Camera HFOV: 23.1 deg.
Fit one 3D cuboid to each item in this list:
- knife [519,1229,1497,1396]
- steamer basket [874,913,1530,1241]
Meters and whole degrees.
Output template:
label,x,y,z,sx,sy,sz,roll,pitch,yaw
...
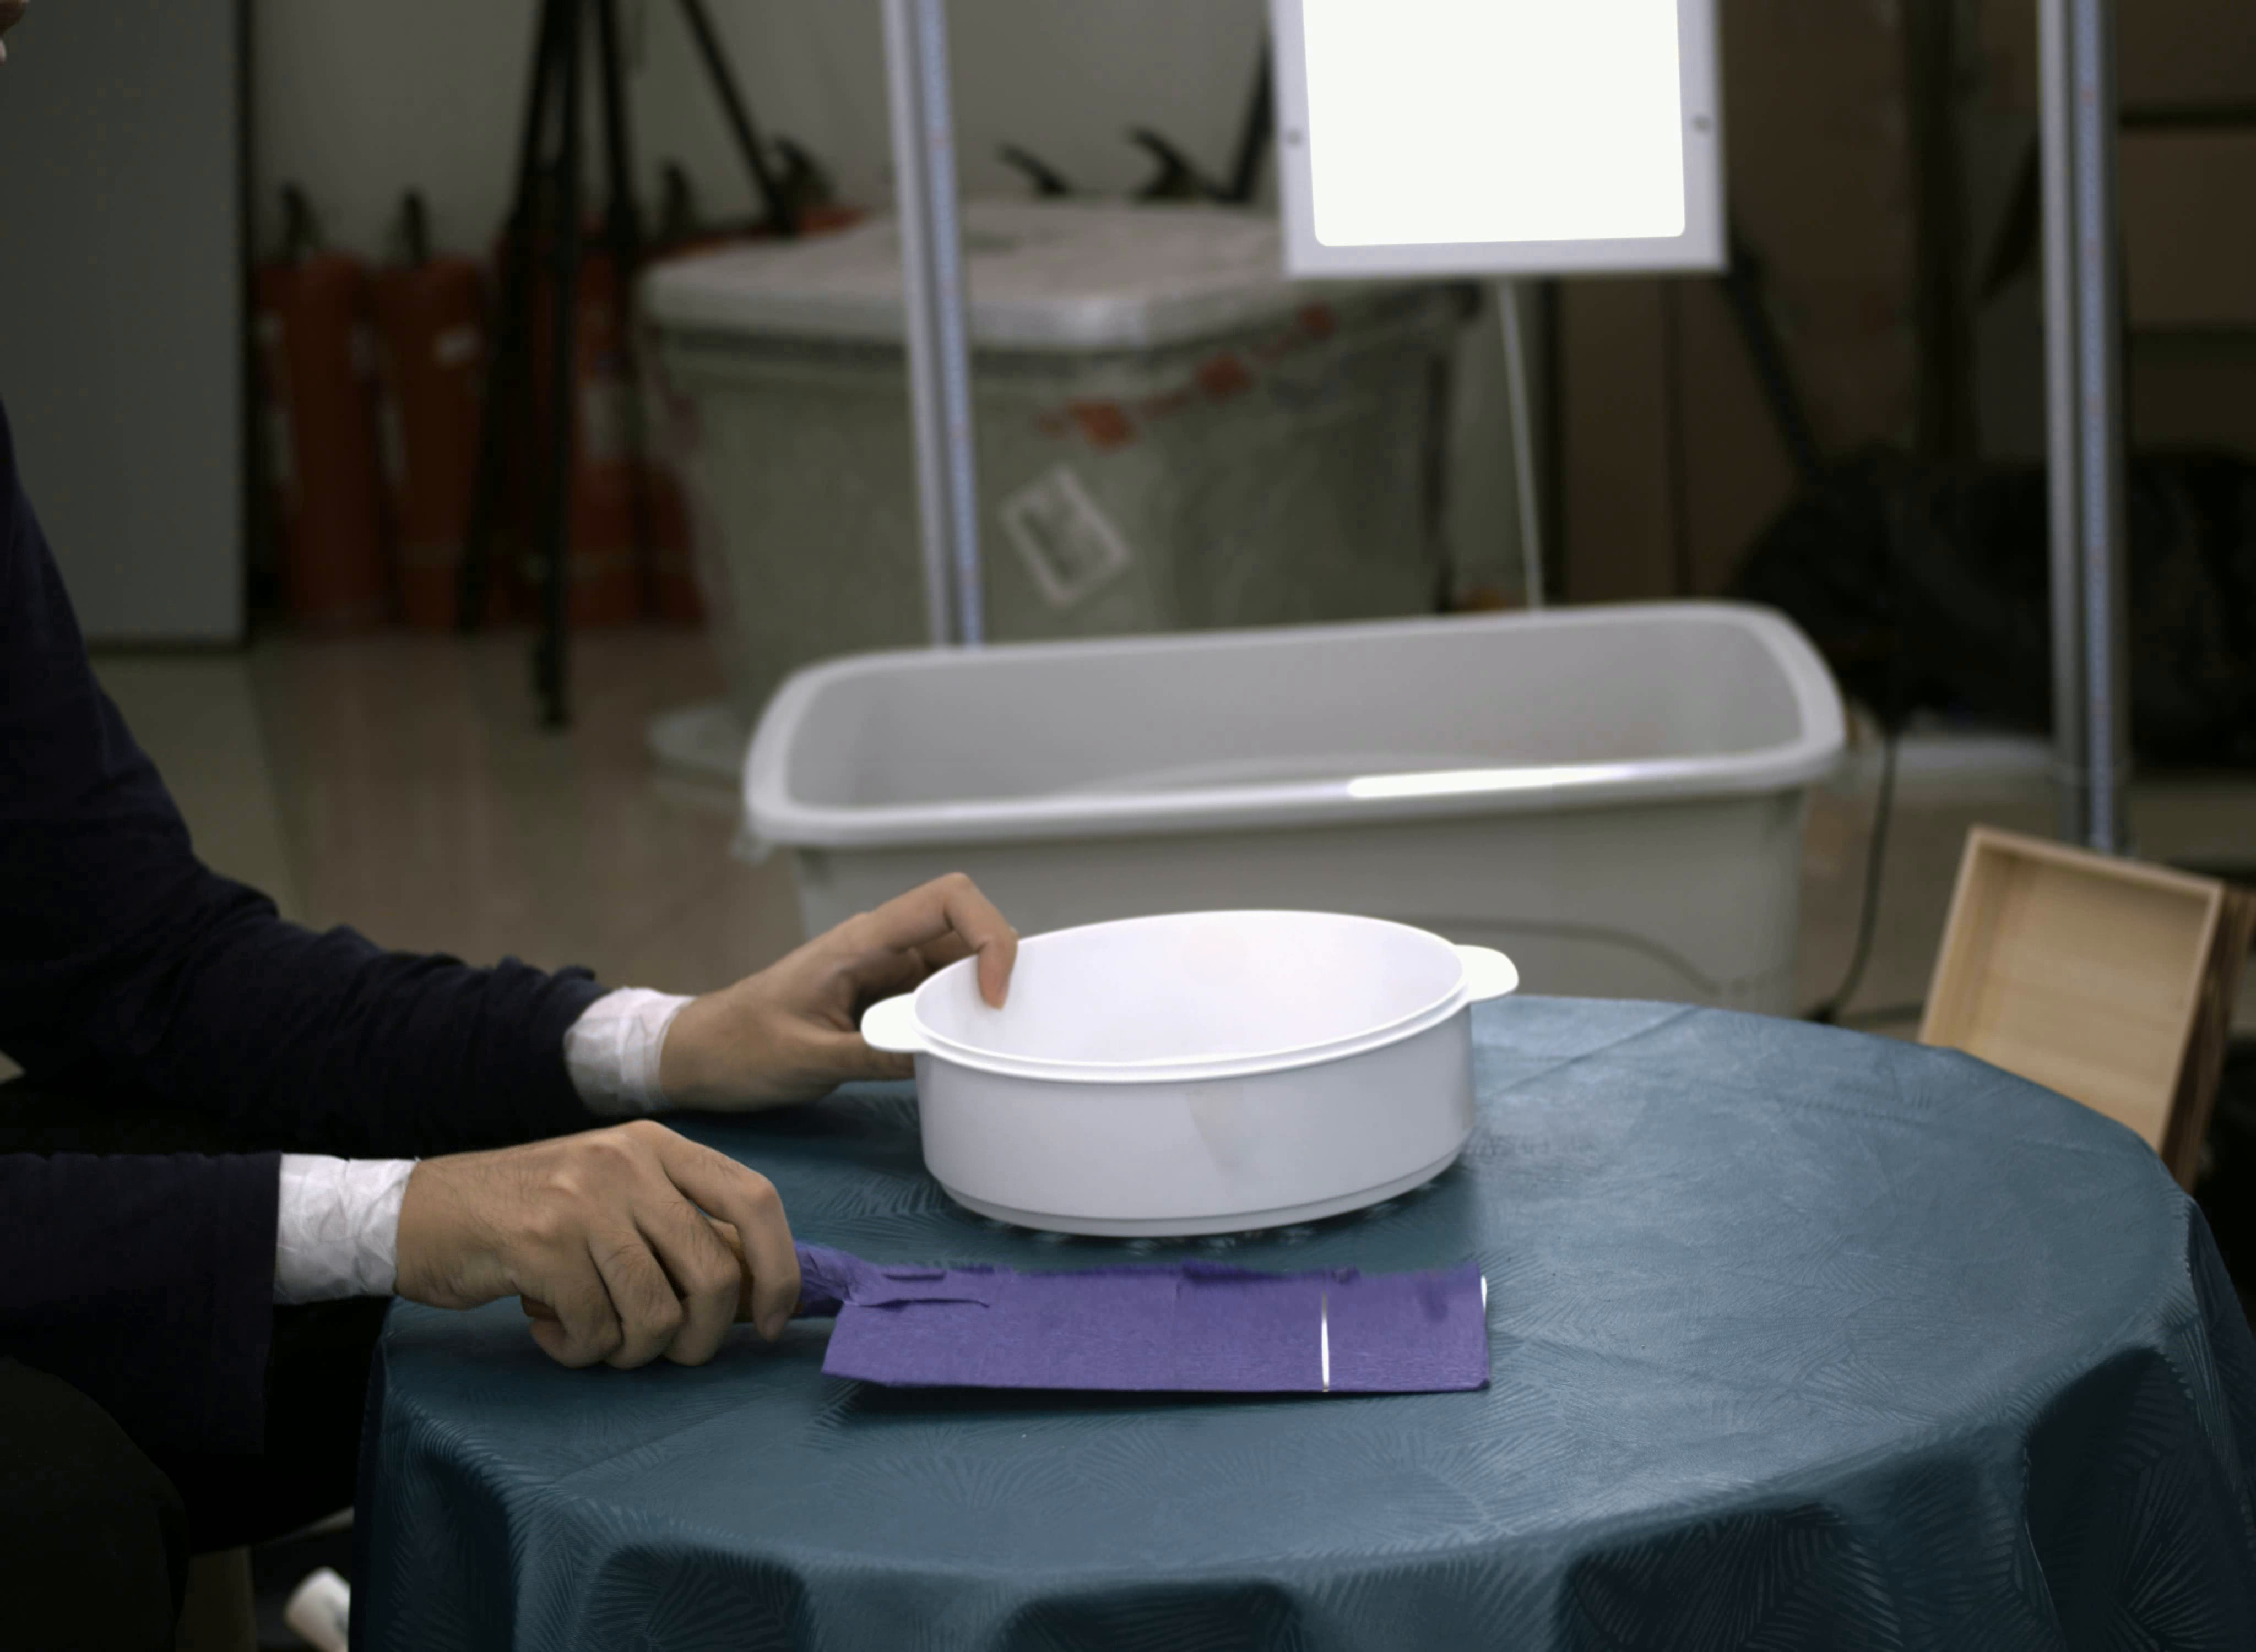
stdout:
label,x,y,z,sx,sy,sz,roll,pitch,yaw
knife,-0.041,0.152,1.734,0.316,0.032,0.103,-3,20,7
steamer basket,0.029,0.088,1.916,0.230,0.069,0.201,-8,12,0
